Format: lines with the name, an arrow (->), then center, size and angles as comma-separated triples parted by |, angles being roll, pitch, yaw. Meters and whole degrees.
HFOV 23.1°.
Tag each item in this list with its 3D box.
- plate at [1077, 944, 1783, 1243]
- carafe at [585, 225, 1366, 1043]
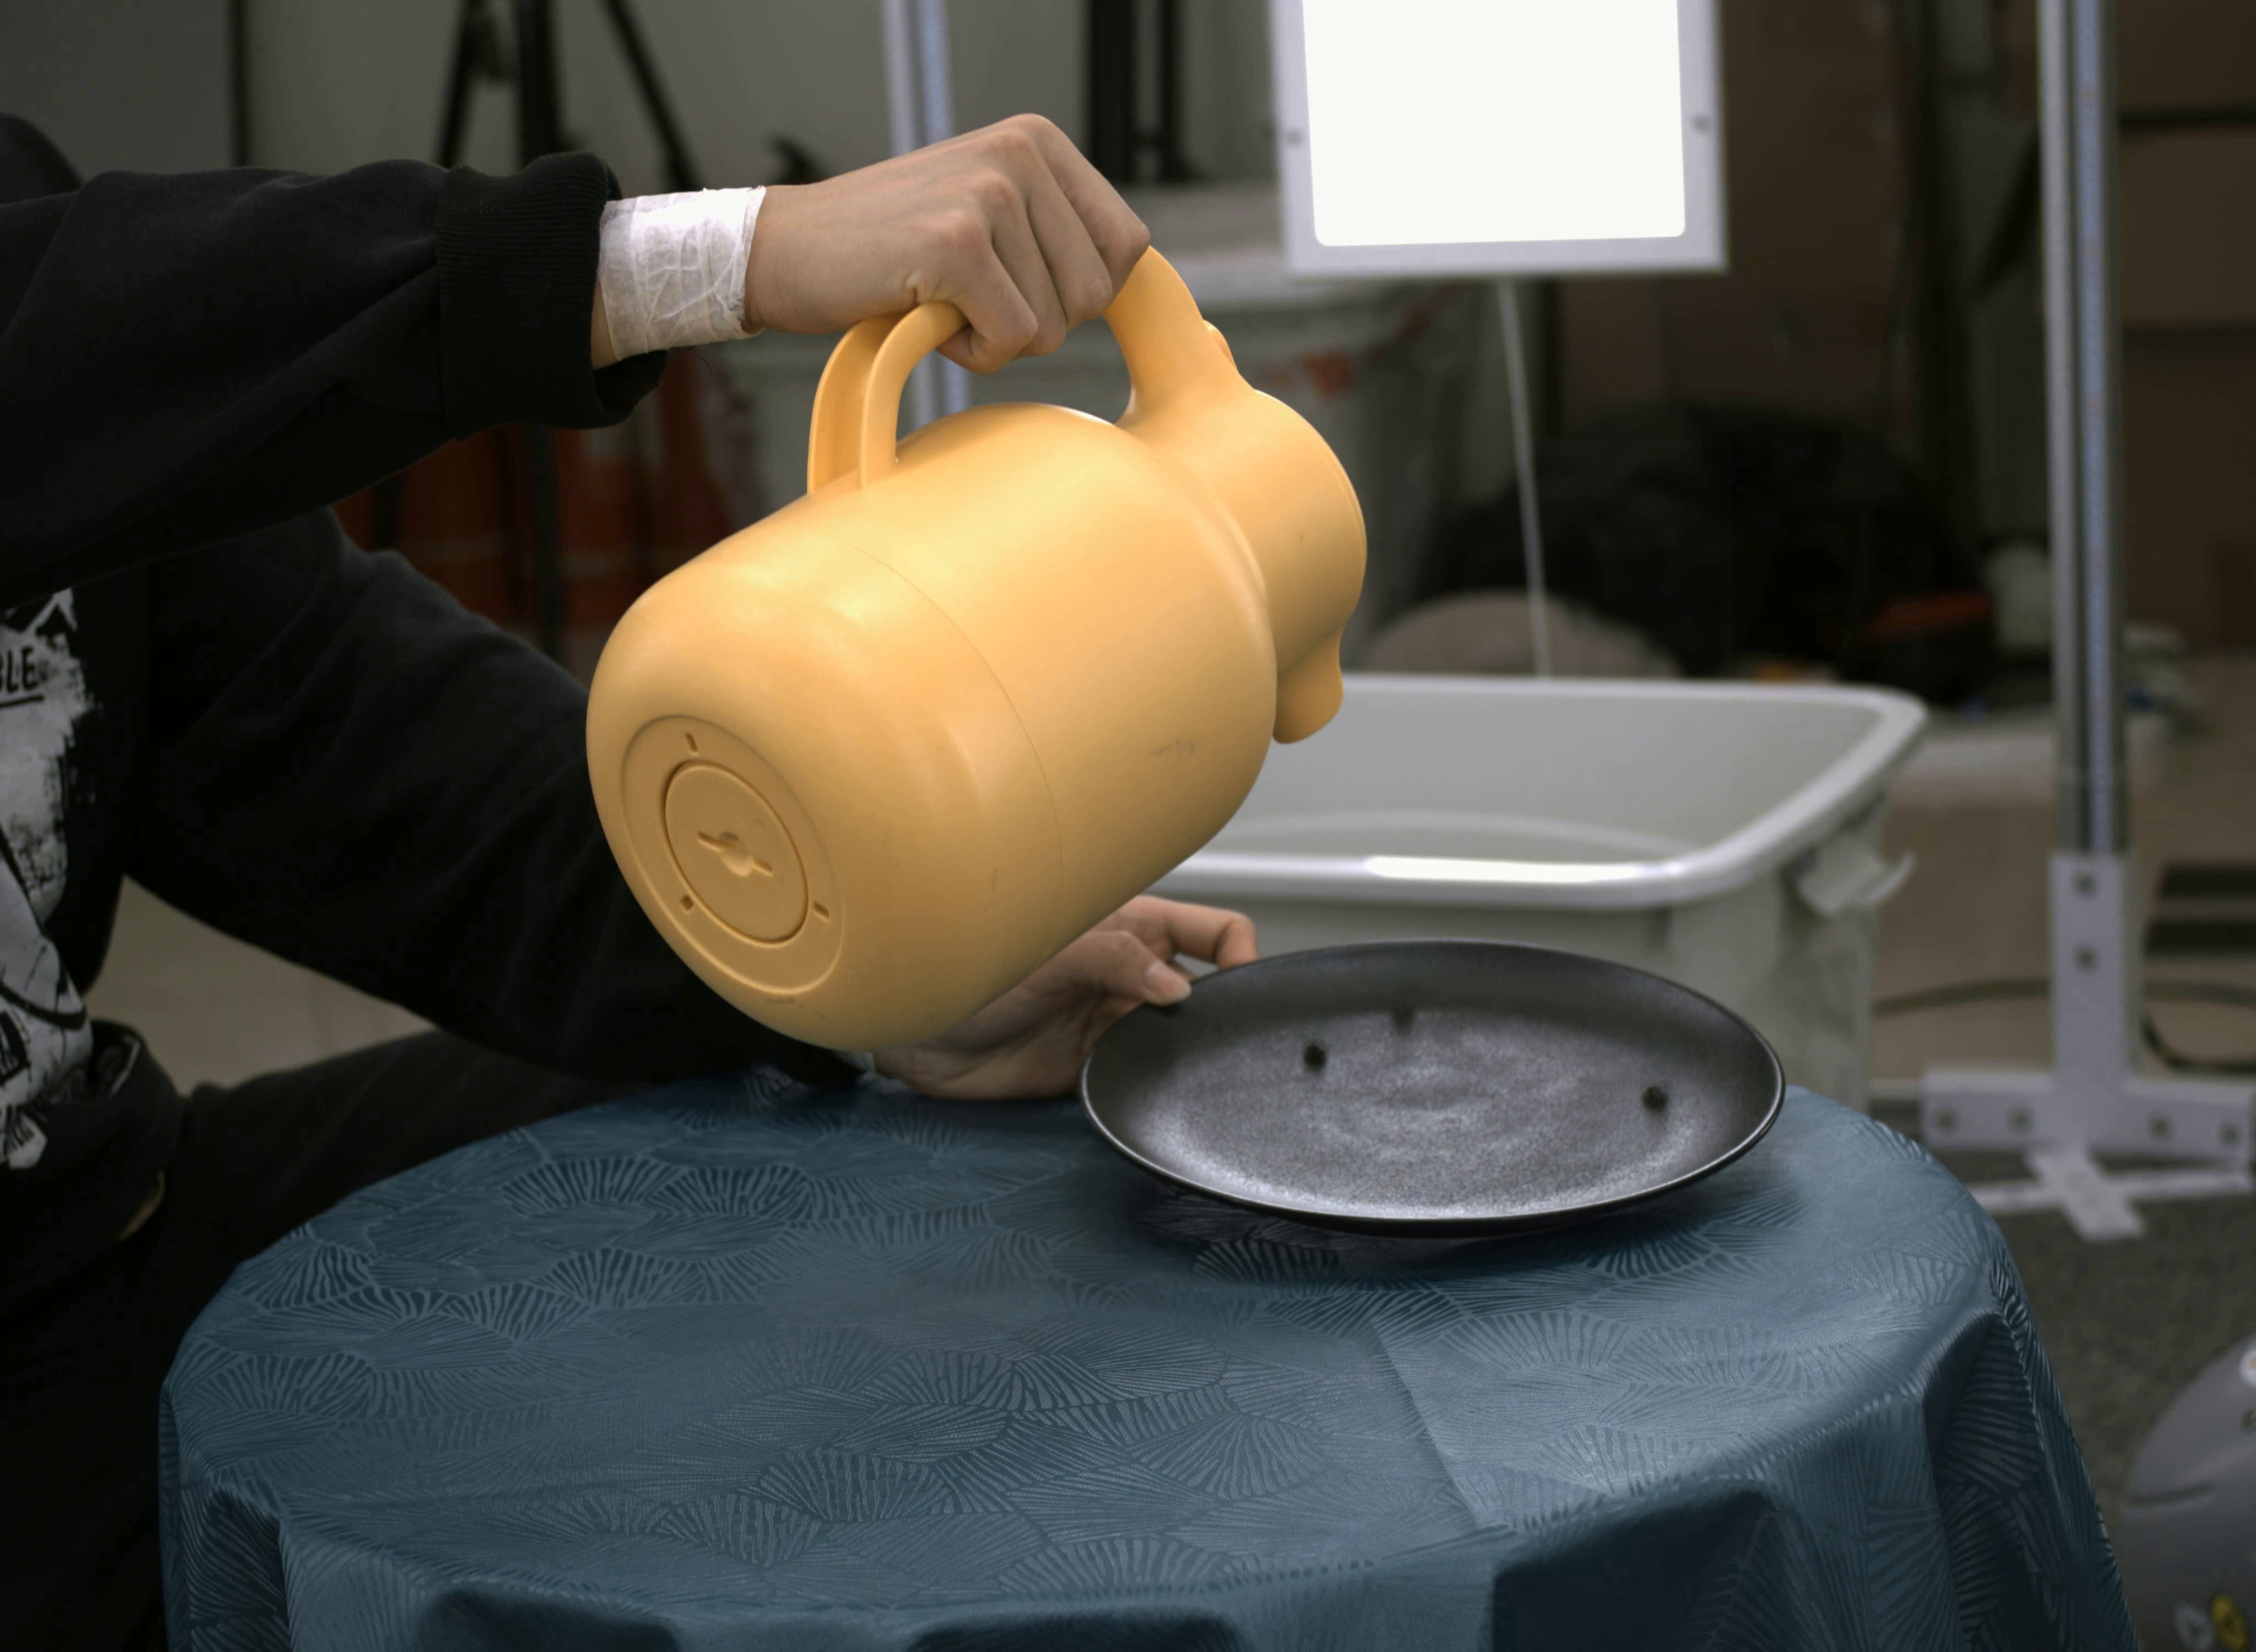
plate -> 0.104, 0.095, 1.892 | 0.243, 0.023, 0.244 | -2, 21, 0
carafe -> -0.044, -0.068, 1.720 | 0.167, 0.202, 0.254 | -7, 20, 48
